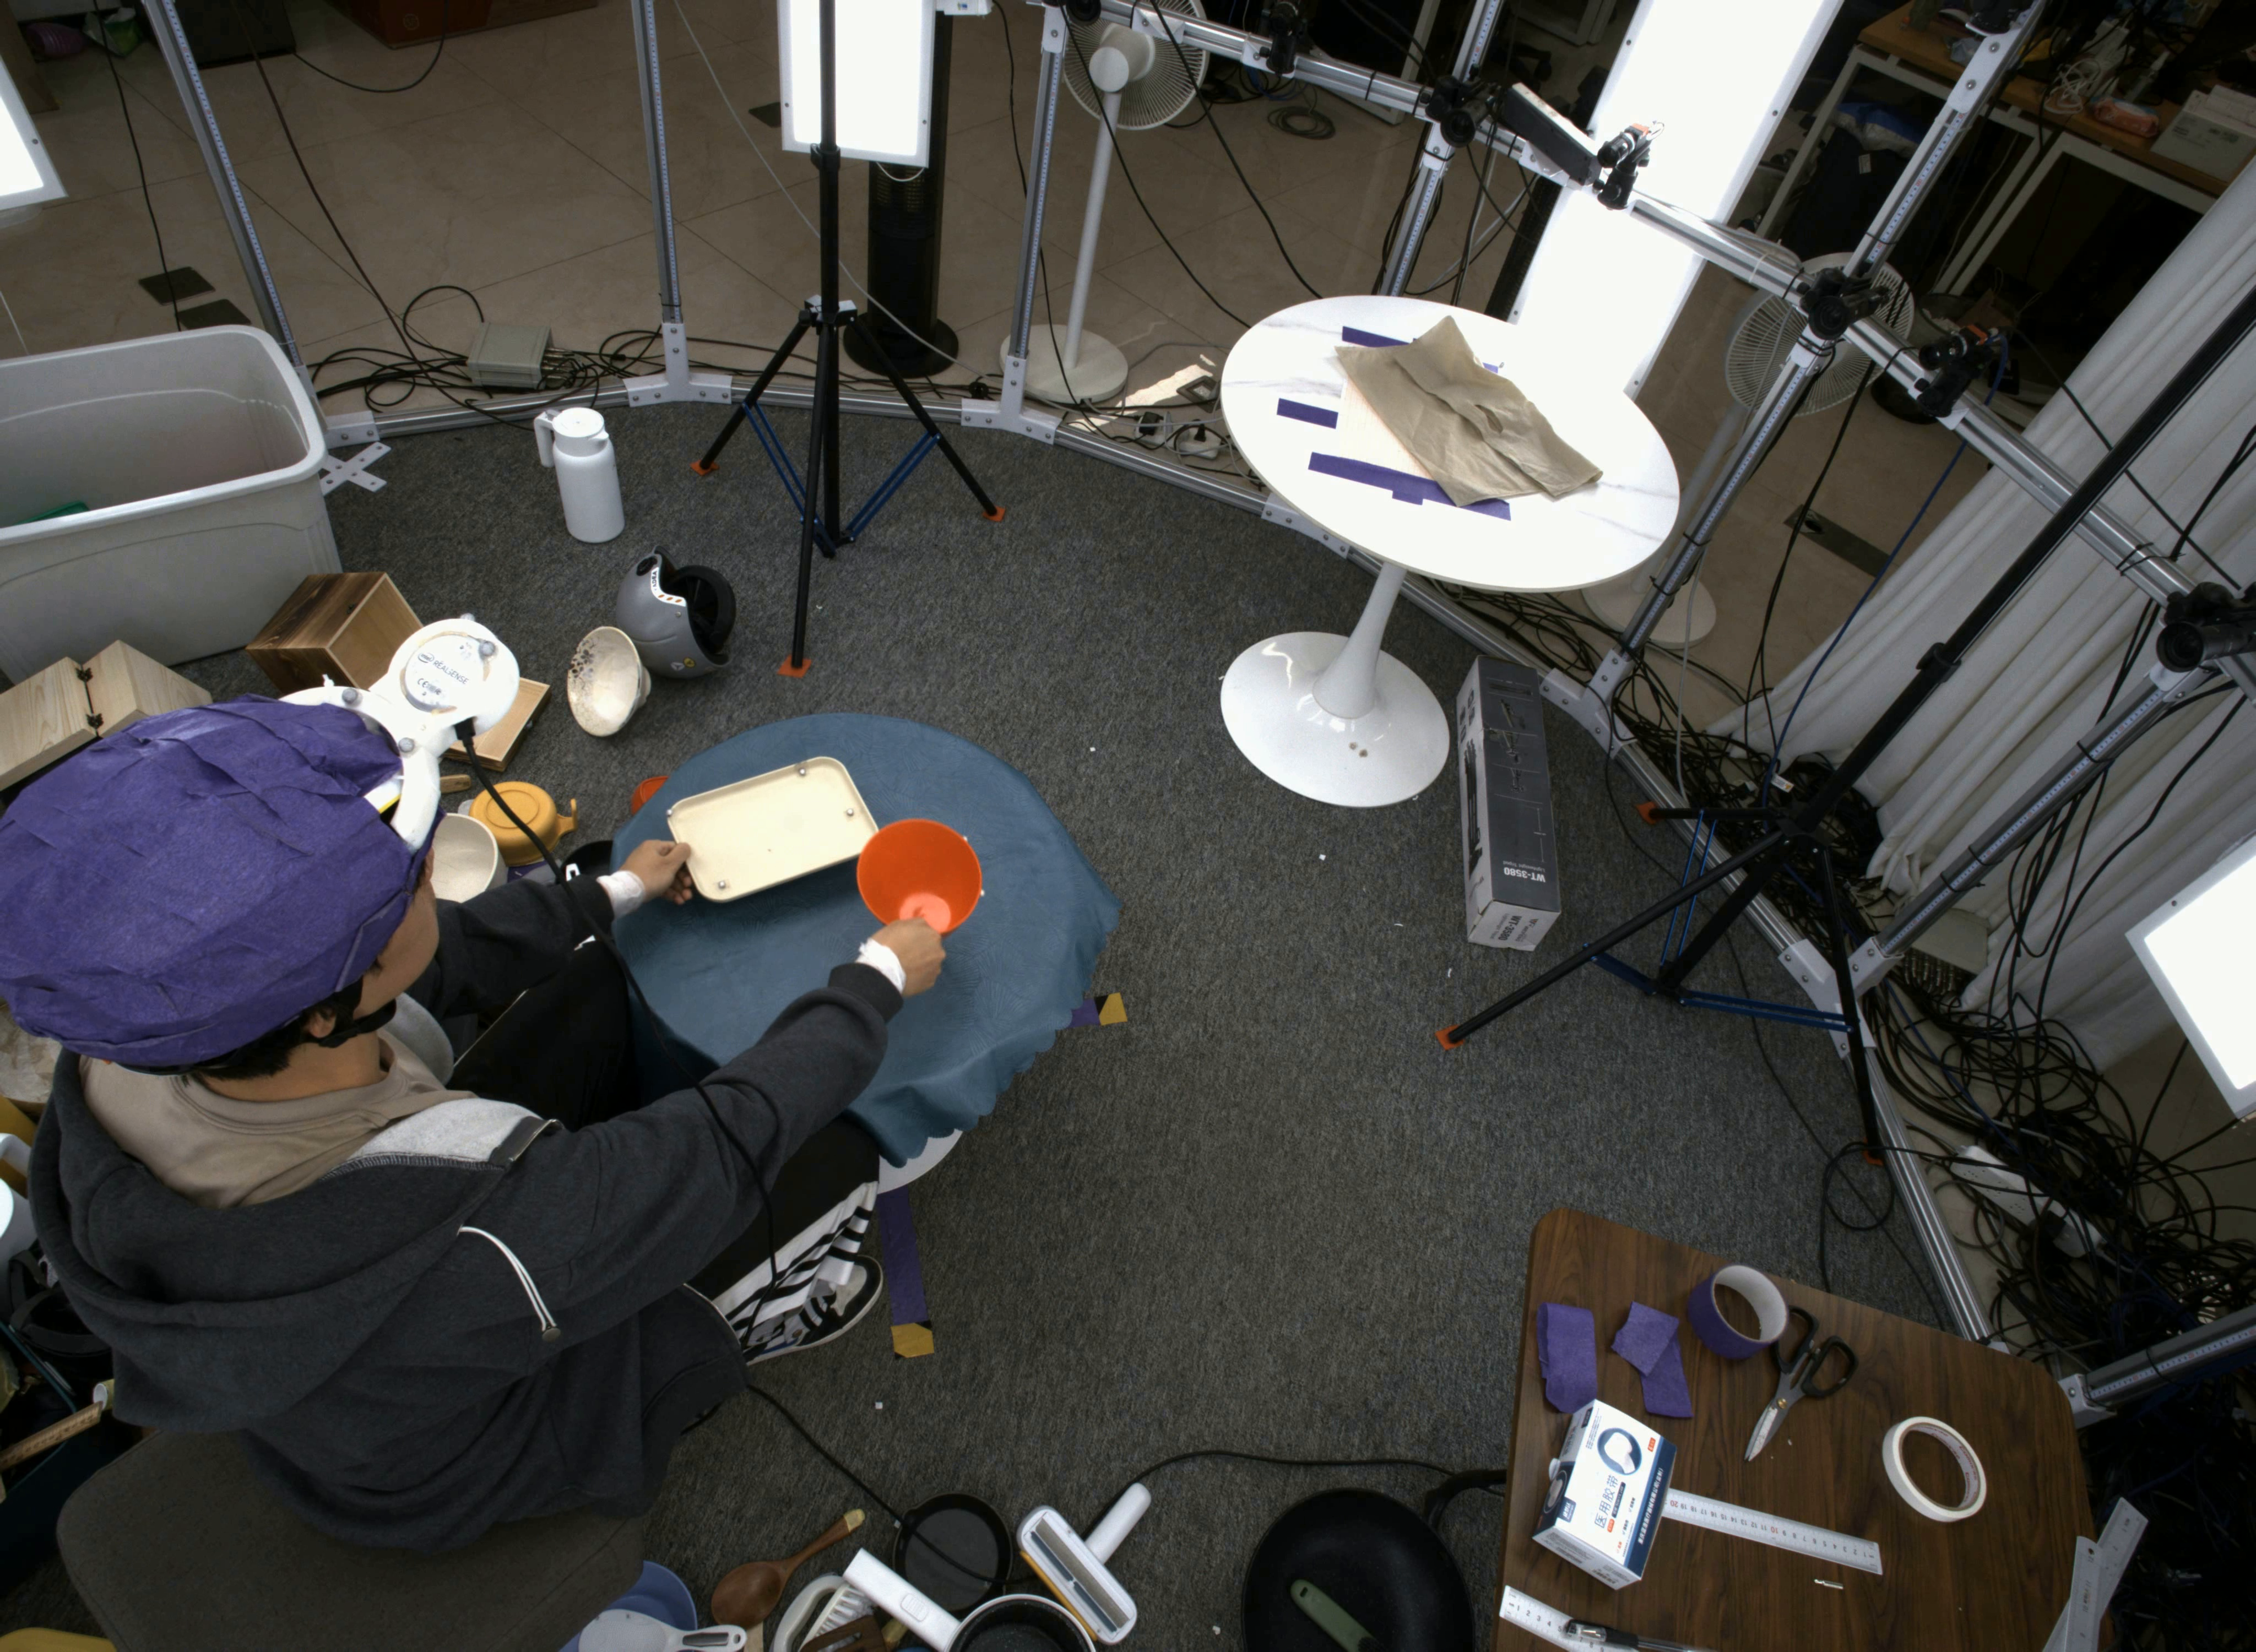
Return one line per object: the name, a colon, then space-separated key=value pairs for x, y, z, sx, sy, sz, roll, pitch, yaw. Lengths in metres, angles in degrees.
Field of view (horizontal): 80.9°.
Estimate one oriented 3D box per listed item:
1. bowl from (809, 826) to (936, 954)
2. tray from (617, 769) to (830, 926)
bowl: x=-0.303 y=0.088 z=1.553 sx=0.148 sy=0.106 sz=0.146 roll=7 pitch=57 yaw=-9
tray: x=-0.509 y=0.024 z=1.625 sx=0.240 sy=0.018 sz=0.167 roll=-24 pitch=63 yaw=-27
